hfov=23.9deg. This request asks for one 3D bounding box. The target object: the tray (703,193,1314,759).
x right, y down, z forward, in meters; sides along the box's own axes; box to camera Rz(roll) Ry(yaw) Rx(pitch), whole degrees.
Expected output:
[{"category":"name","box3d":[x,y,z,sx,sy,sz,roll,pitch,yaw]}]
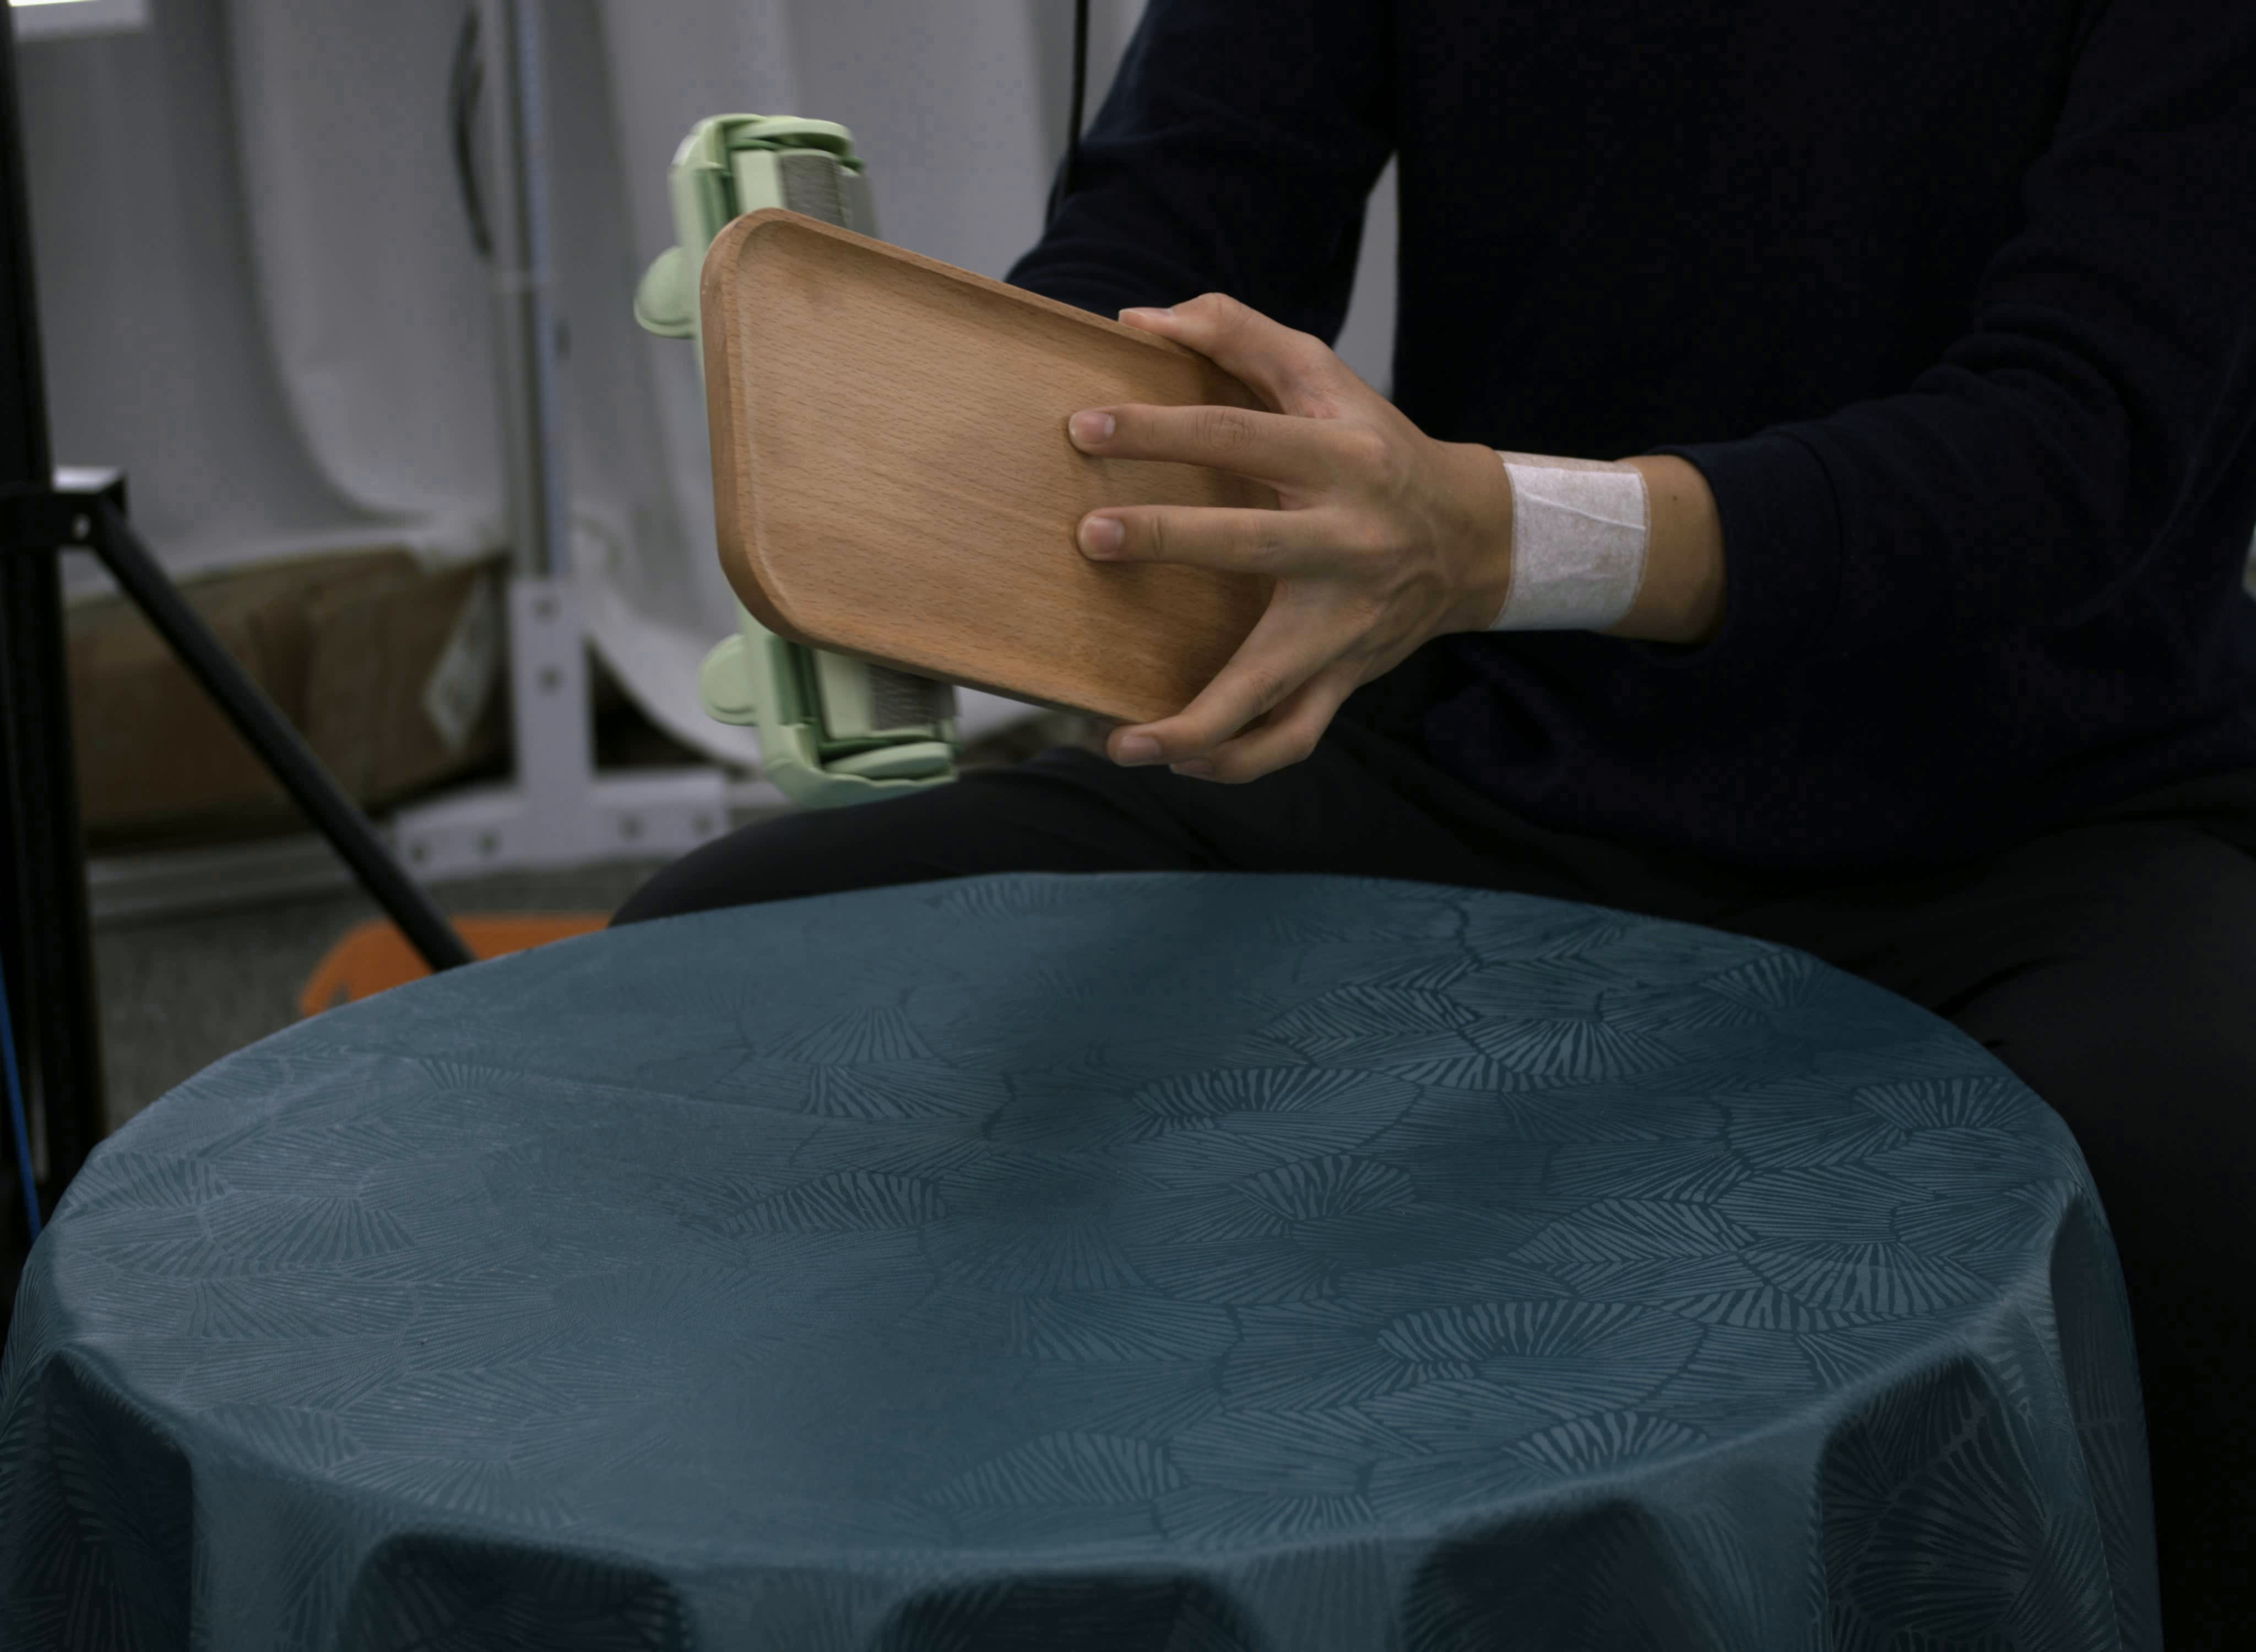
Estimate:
[{"category":"tray","box3d":[-0.031,-0.097,1.537,0.023,0.132,0.244,-15,-20,38]}]

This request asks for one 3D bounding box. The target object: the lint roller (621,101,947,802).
[{"category":"lint roller","box3d":[-0.091,-0.097,1.577,0.082,0.200,0.181,-11,-11,8]}]
